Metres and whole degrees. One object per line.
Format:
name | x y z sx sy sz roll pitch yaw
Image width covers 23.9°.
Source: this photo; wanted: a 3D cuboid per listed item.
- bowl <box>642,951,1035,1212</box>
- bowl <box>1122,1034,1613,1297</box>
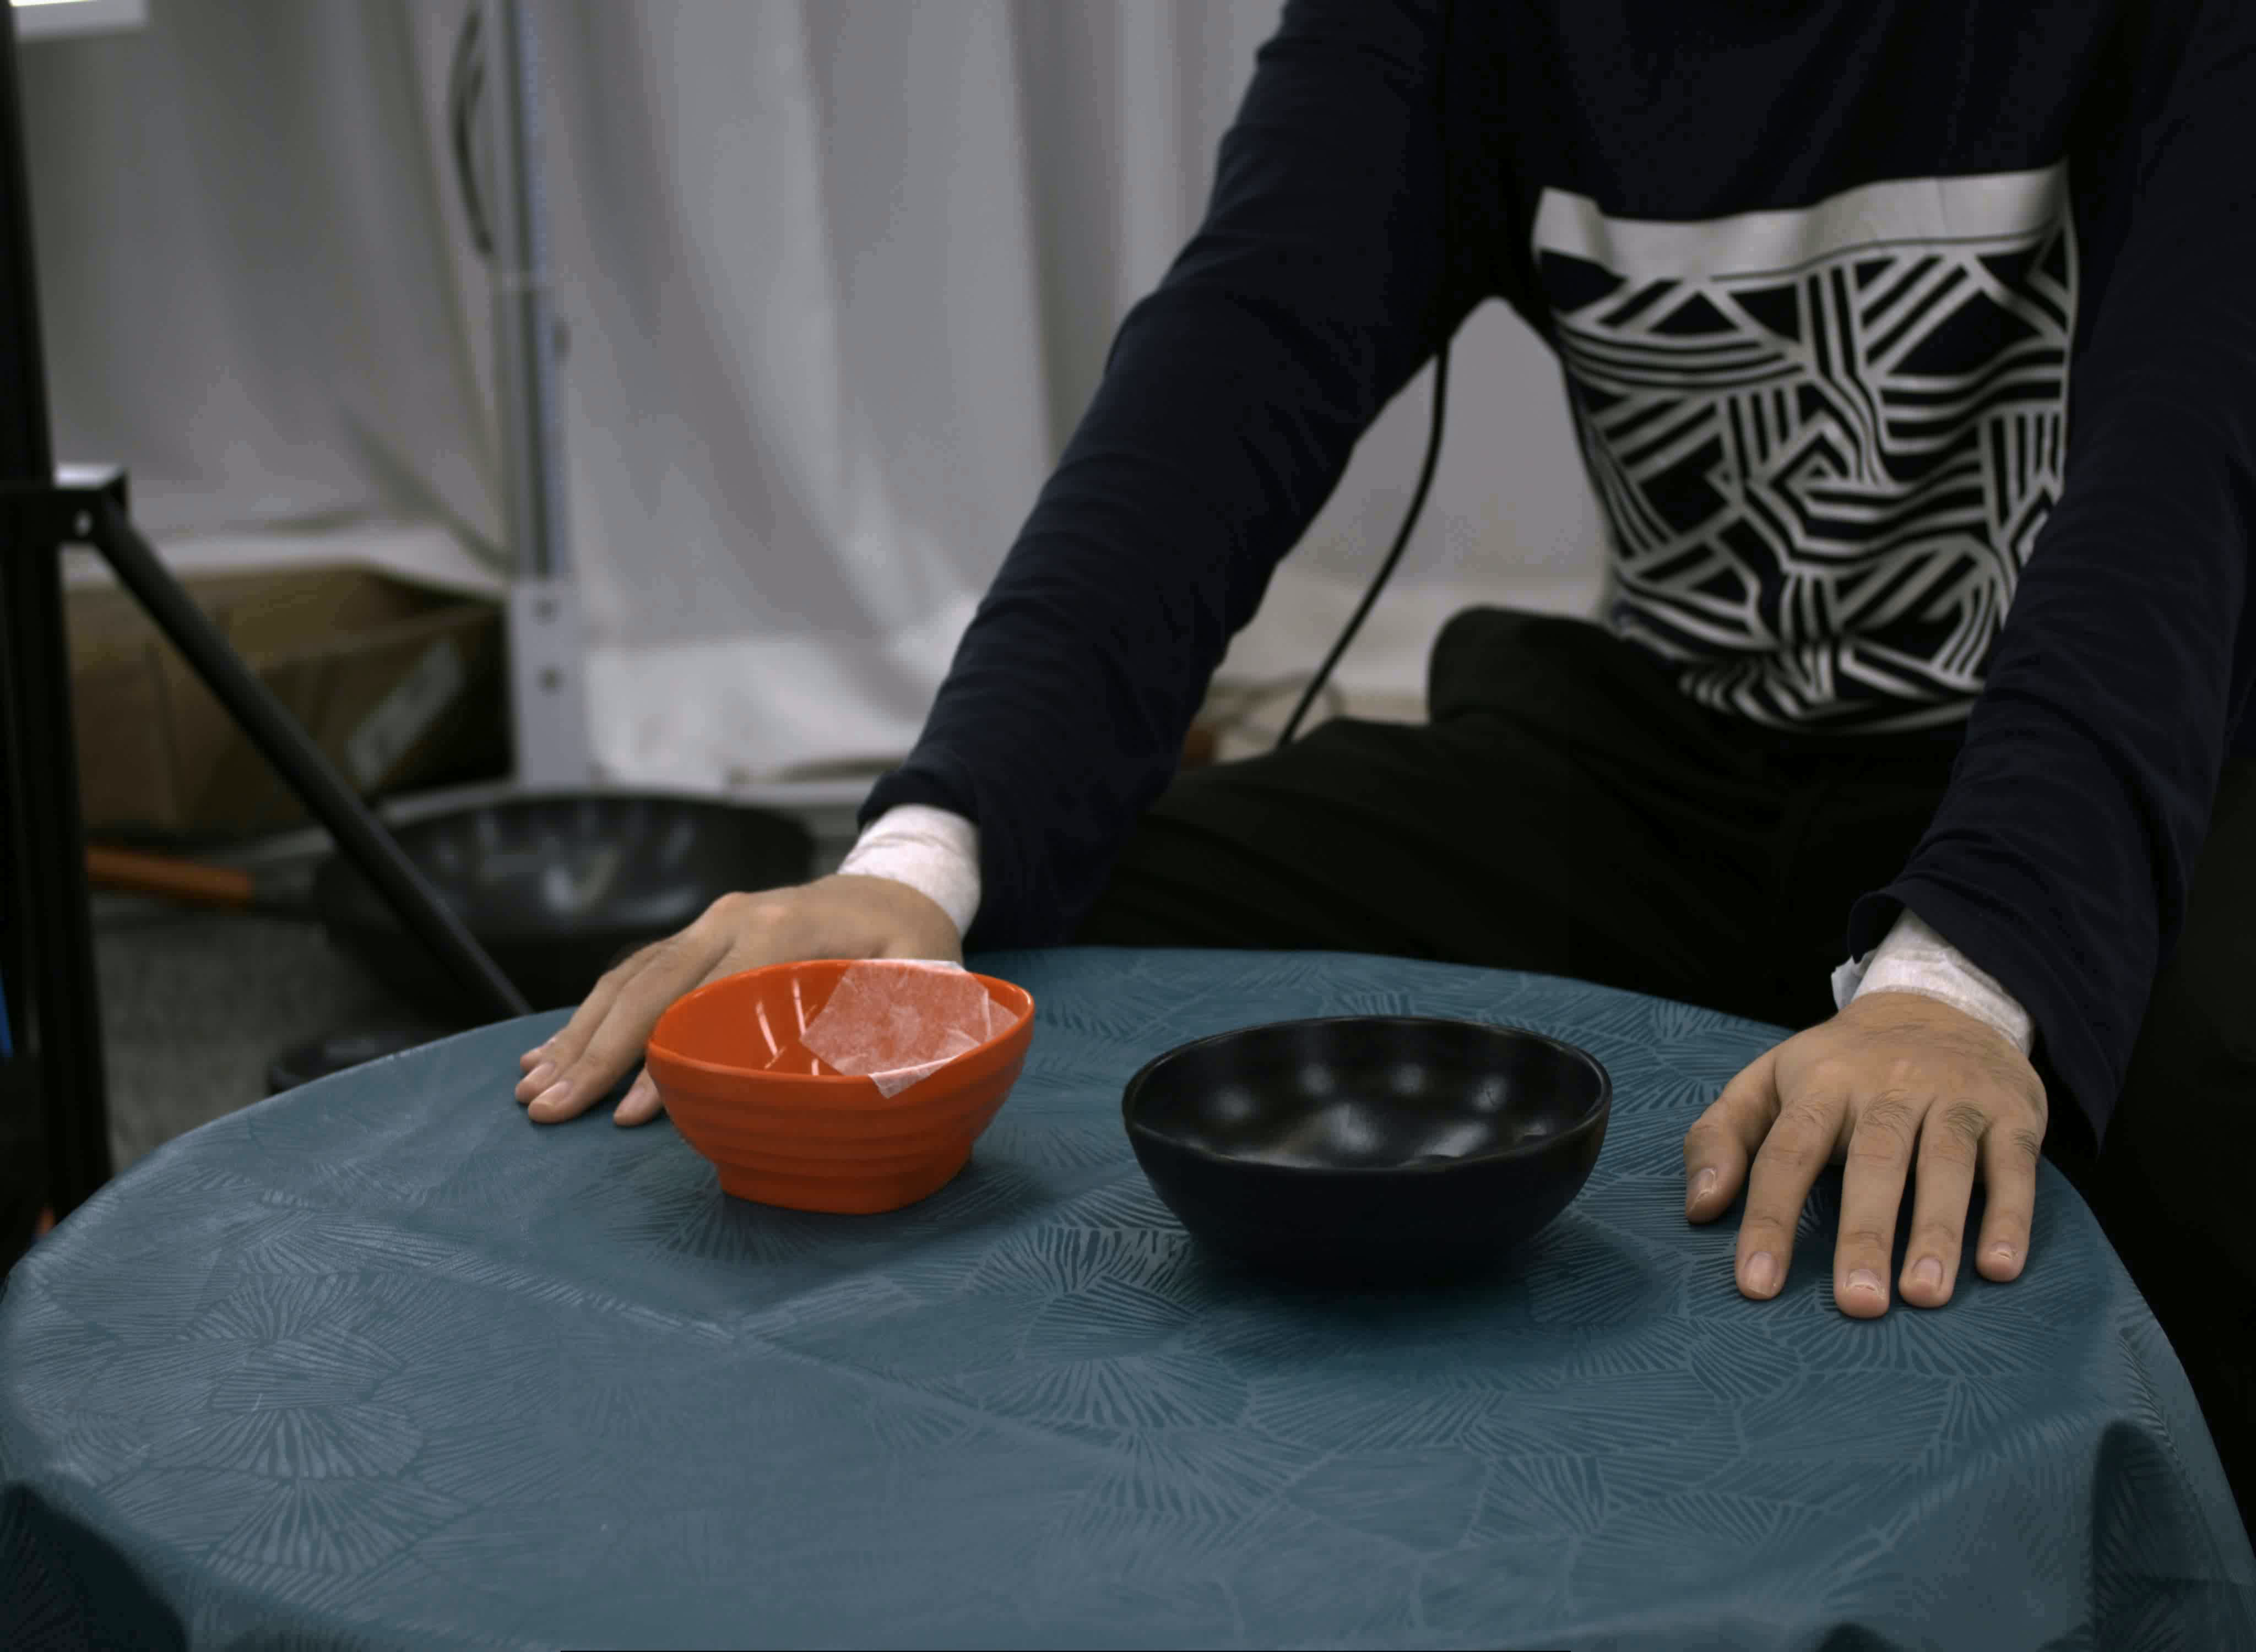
bowl | -0.084 0.078 1.583 0.118 0.051 0.119 -4 17 0
bowl | 0.067 0.100 1.501 0.139 0.050 0.140 0 12 -1
